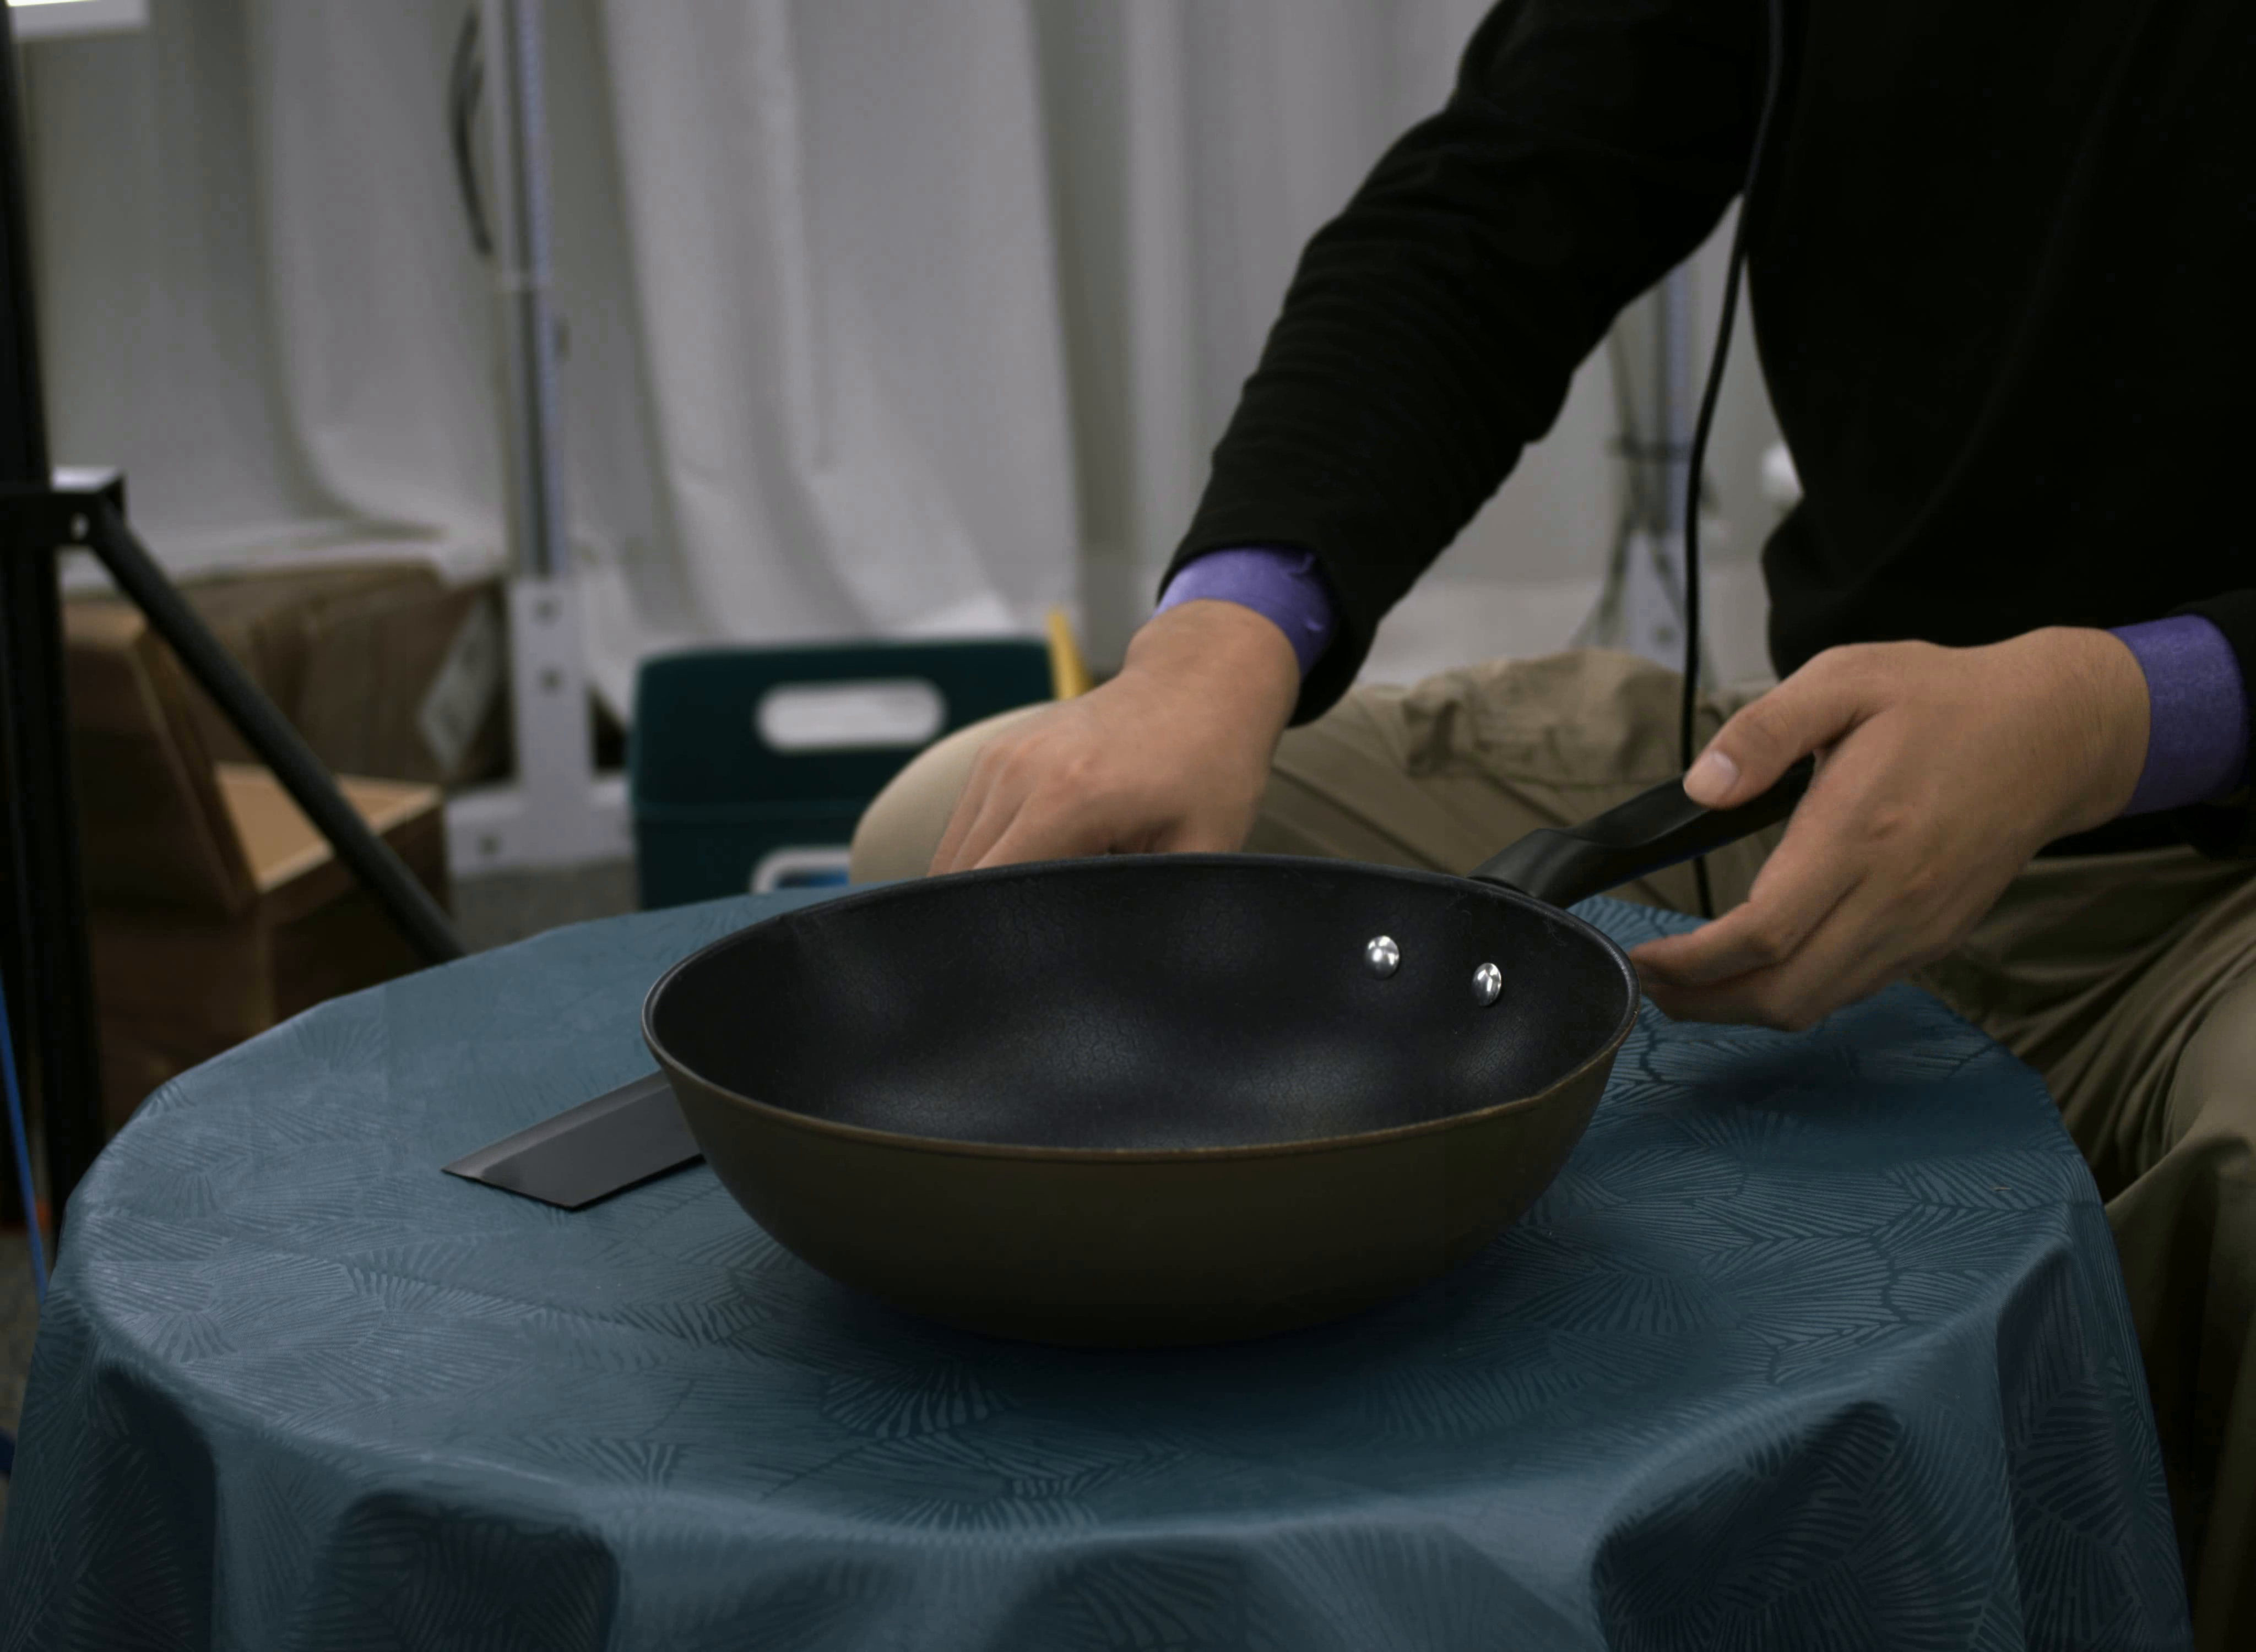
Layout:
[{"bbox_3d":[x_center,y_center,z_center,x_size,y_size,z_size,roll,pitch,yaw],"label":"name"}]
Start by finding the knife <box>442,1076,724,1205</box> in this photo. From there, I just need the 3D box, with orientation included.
[{"bbox_3d":[-0.084,0.069,1.680,0.295,0.021,0.083,-19,23,-39],"label":"knife"}]

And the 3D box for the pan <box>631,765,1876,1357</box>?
[{"bbox_3d":[0.065,0.064,1.549,0.295,0.087,0.453,13,21,43],"label":"pan"}]
